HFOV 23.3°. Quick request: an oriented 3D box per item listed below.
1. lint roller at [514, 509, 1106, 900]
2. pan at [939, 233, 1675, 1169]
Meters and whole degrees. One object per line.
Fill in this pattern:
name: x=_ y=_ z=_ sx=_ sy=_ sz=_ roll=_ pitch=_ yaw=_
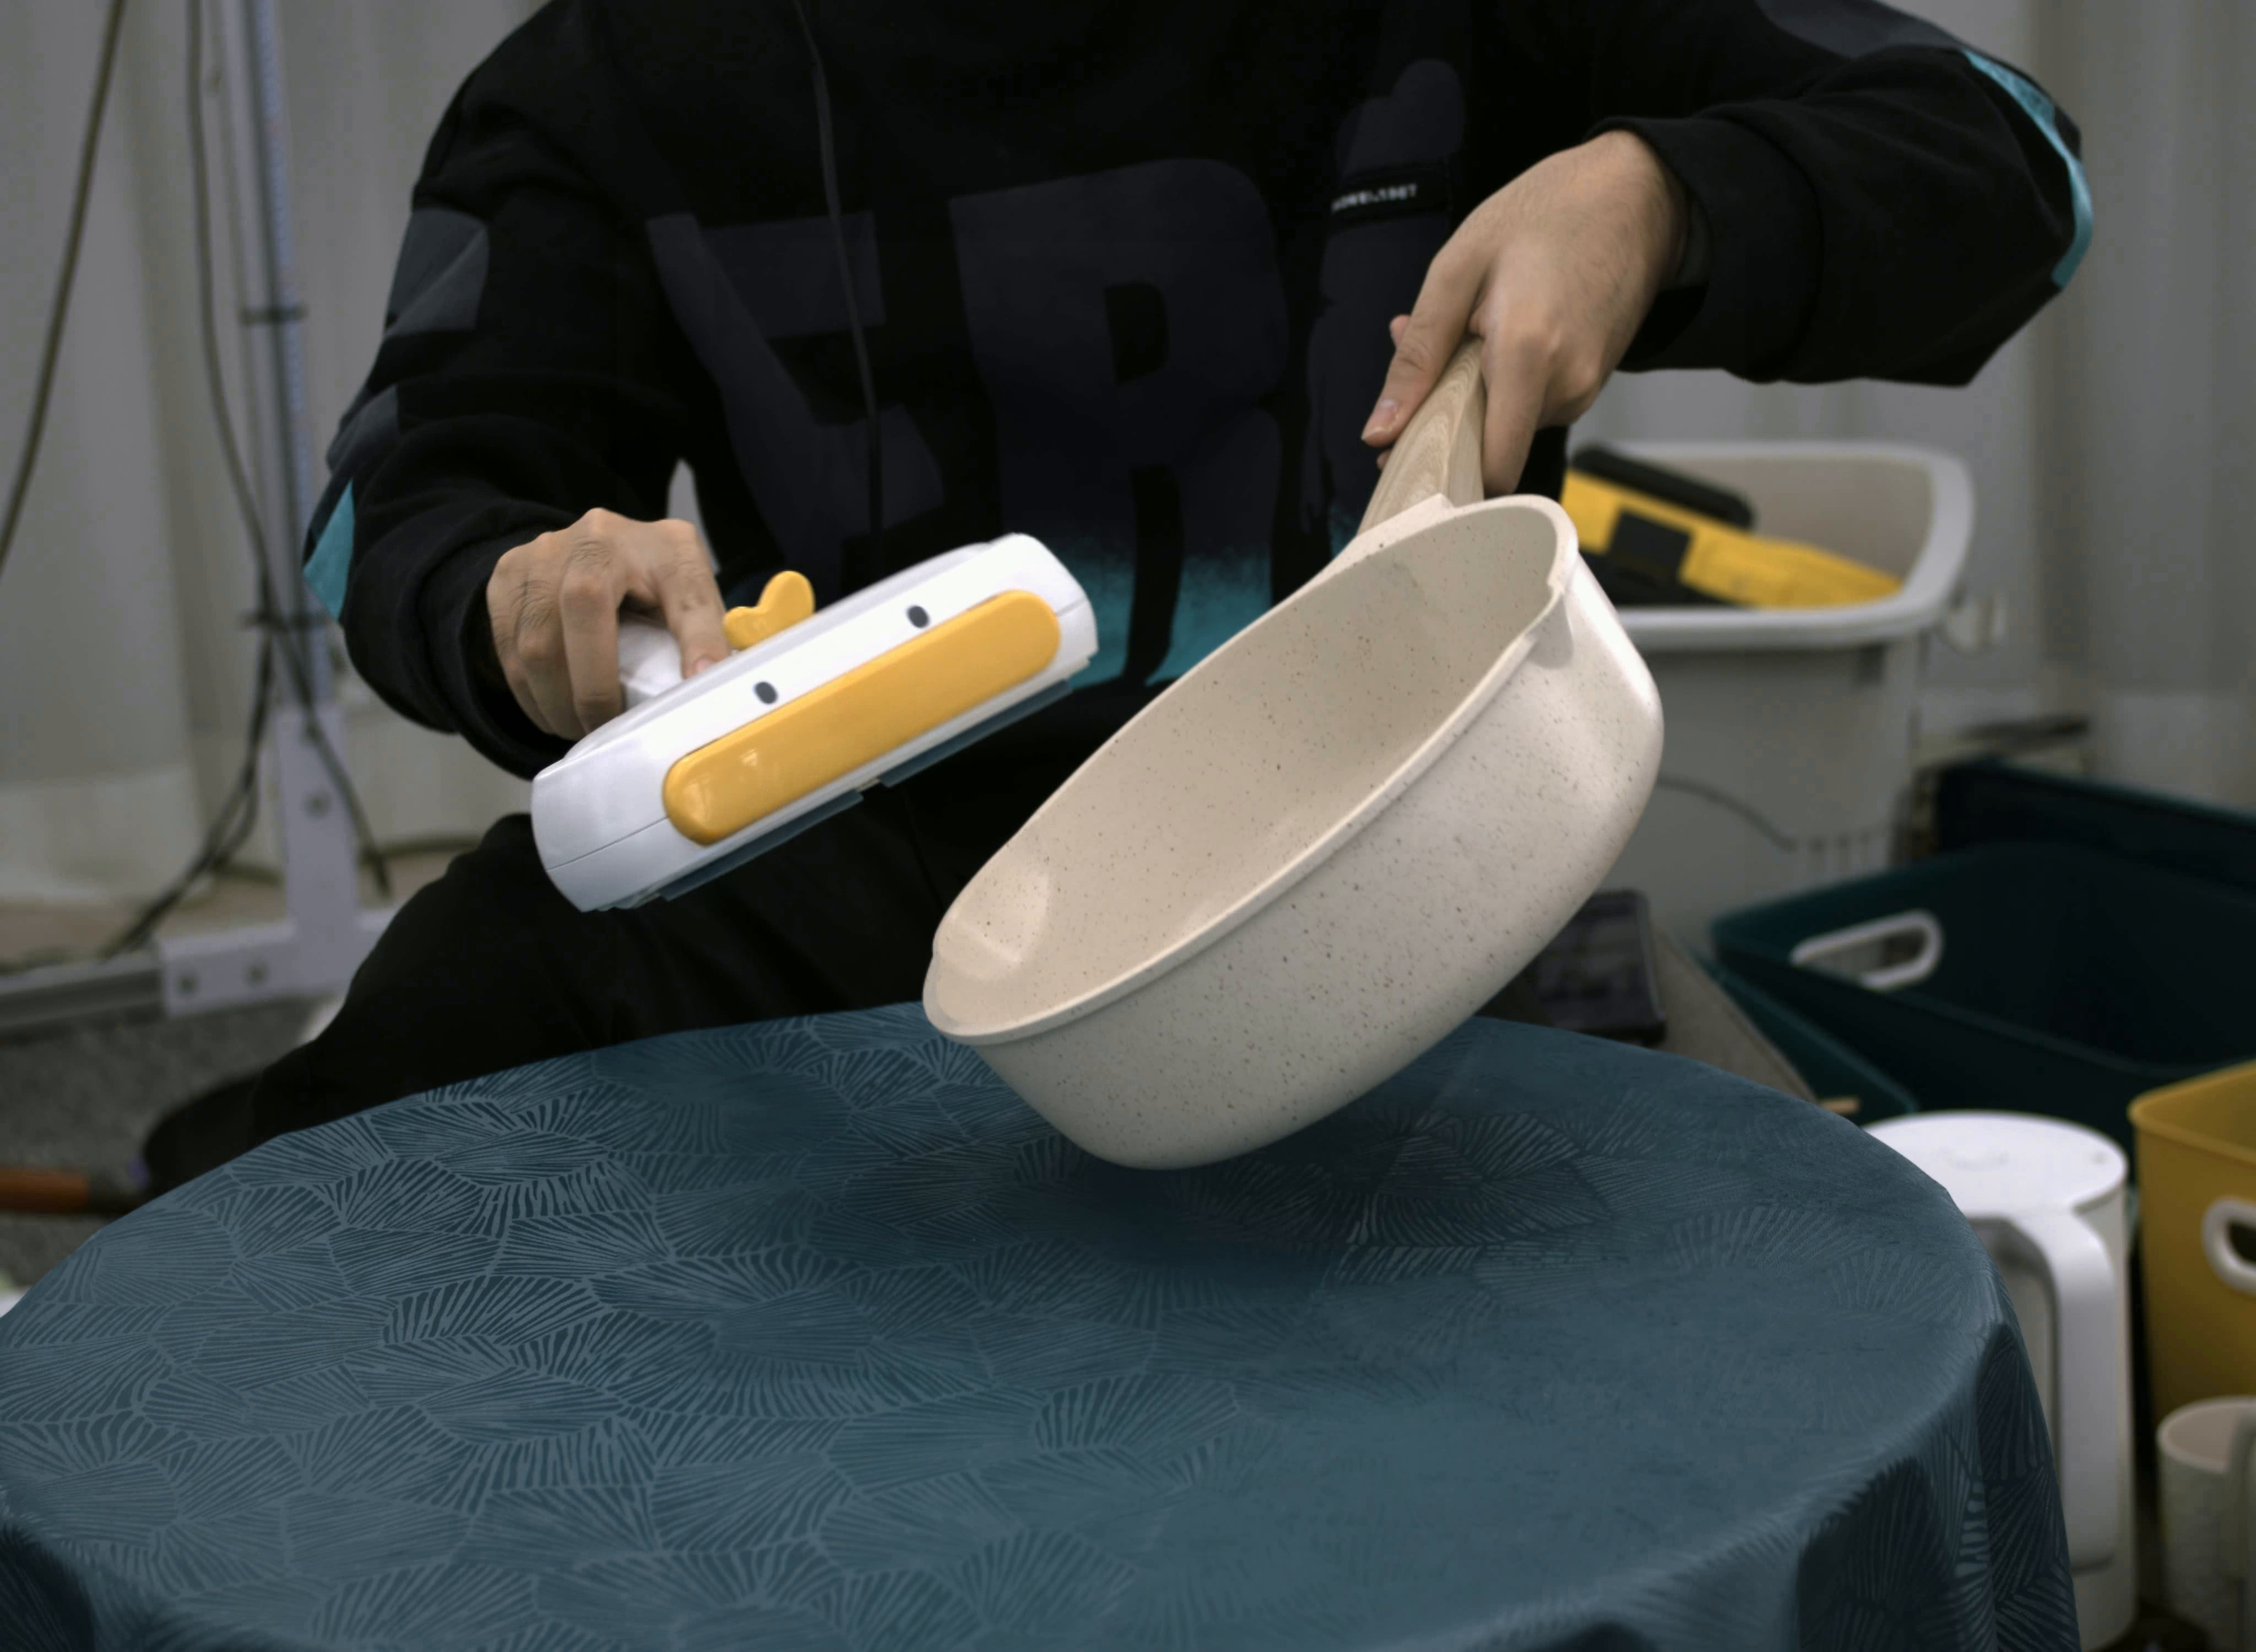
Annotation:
lint roller: x=-0.127 y=-0.041 z=1.719 sx=0.193 sy=0.074 sz=0.193 roll=-35 pitch=17 yaw=-31
pan: x=0.091 y=-0.049 z=1.761 sx=0.262 sy=0.101 sz=0.439 roll=-30 pitch=18 yaw=38
